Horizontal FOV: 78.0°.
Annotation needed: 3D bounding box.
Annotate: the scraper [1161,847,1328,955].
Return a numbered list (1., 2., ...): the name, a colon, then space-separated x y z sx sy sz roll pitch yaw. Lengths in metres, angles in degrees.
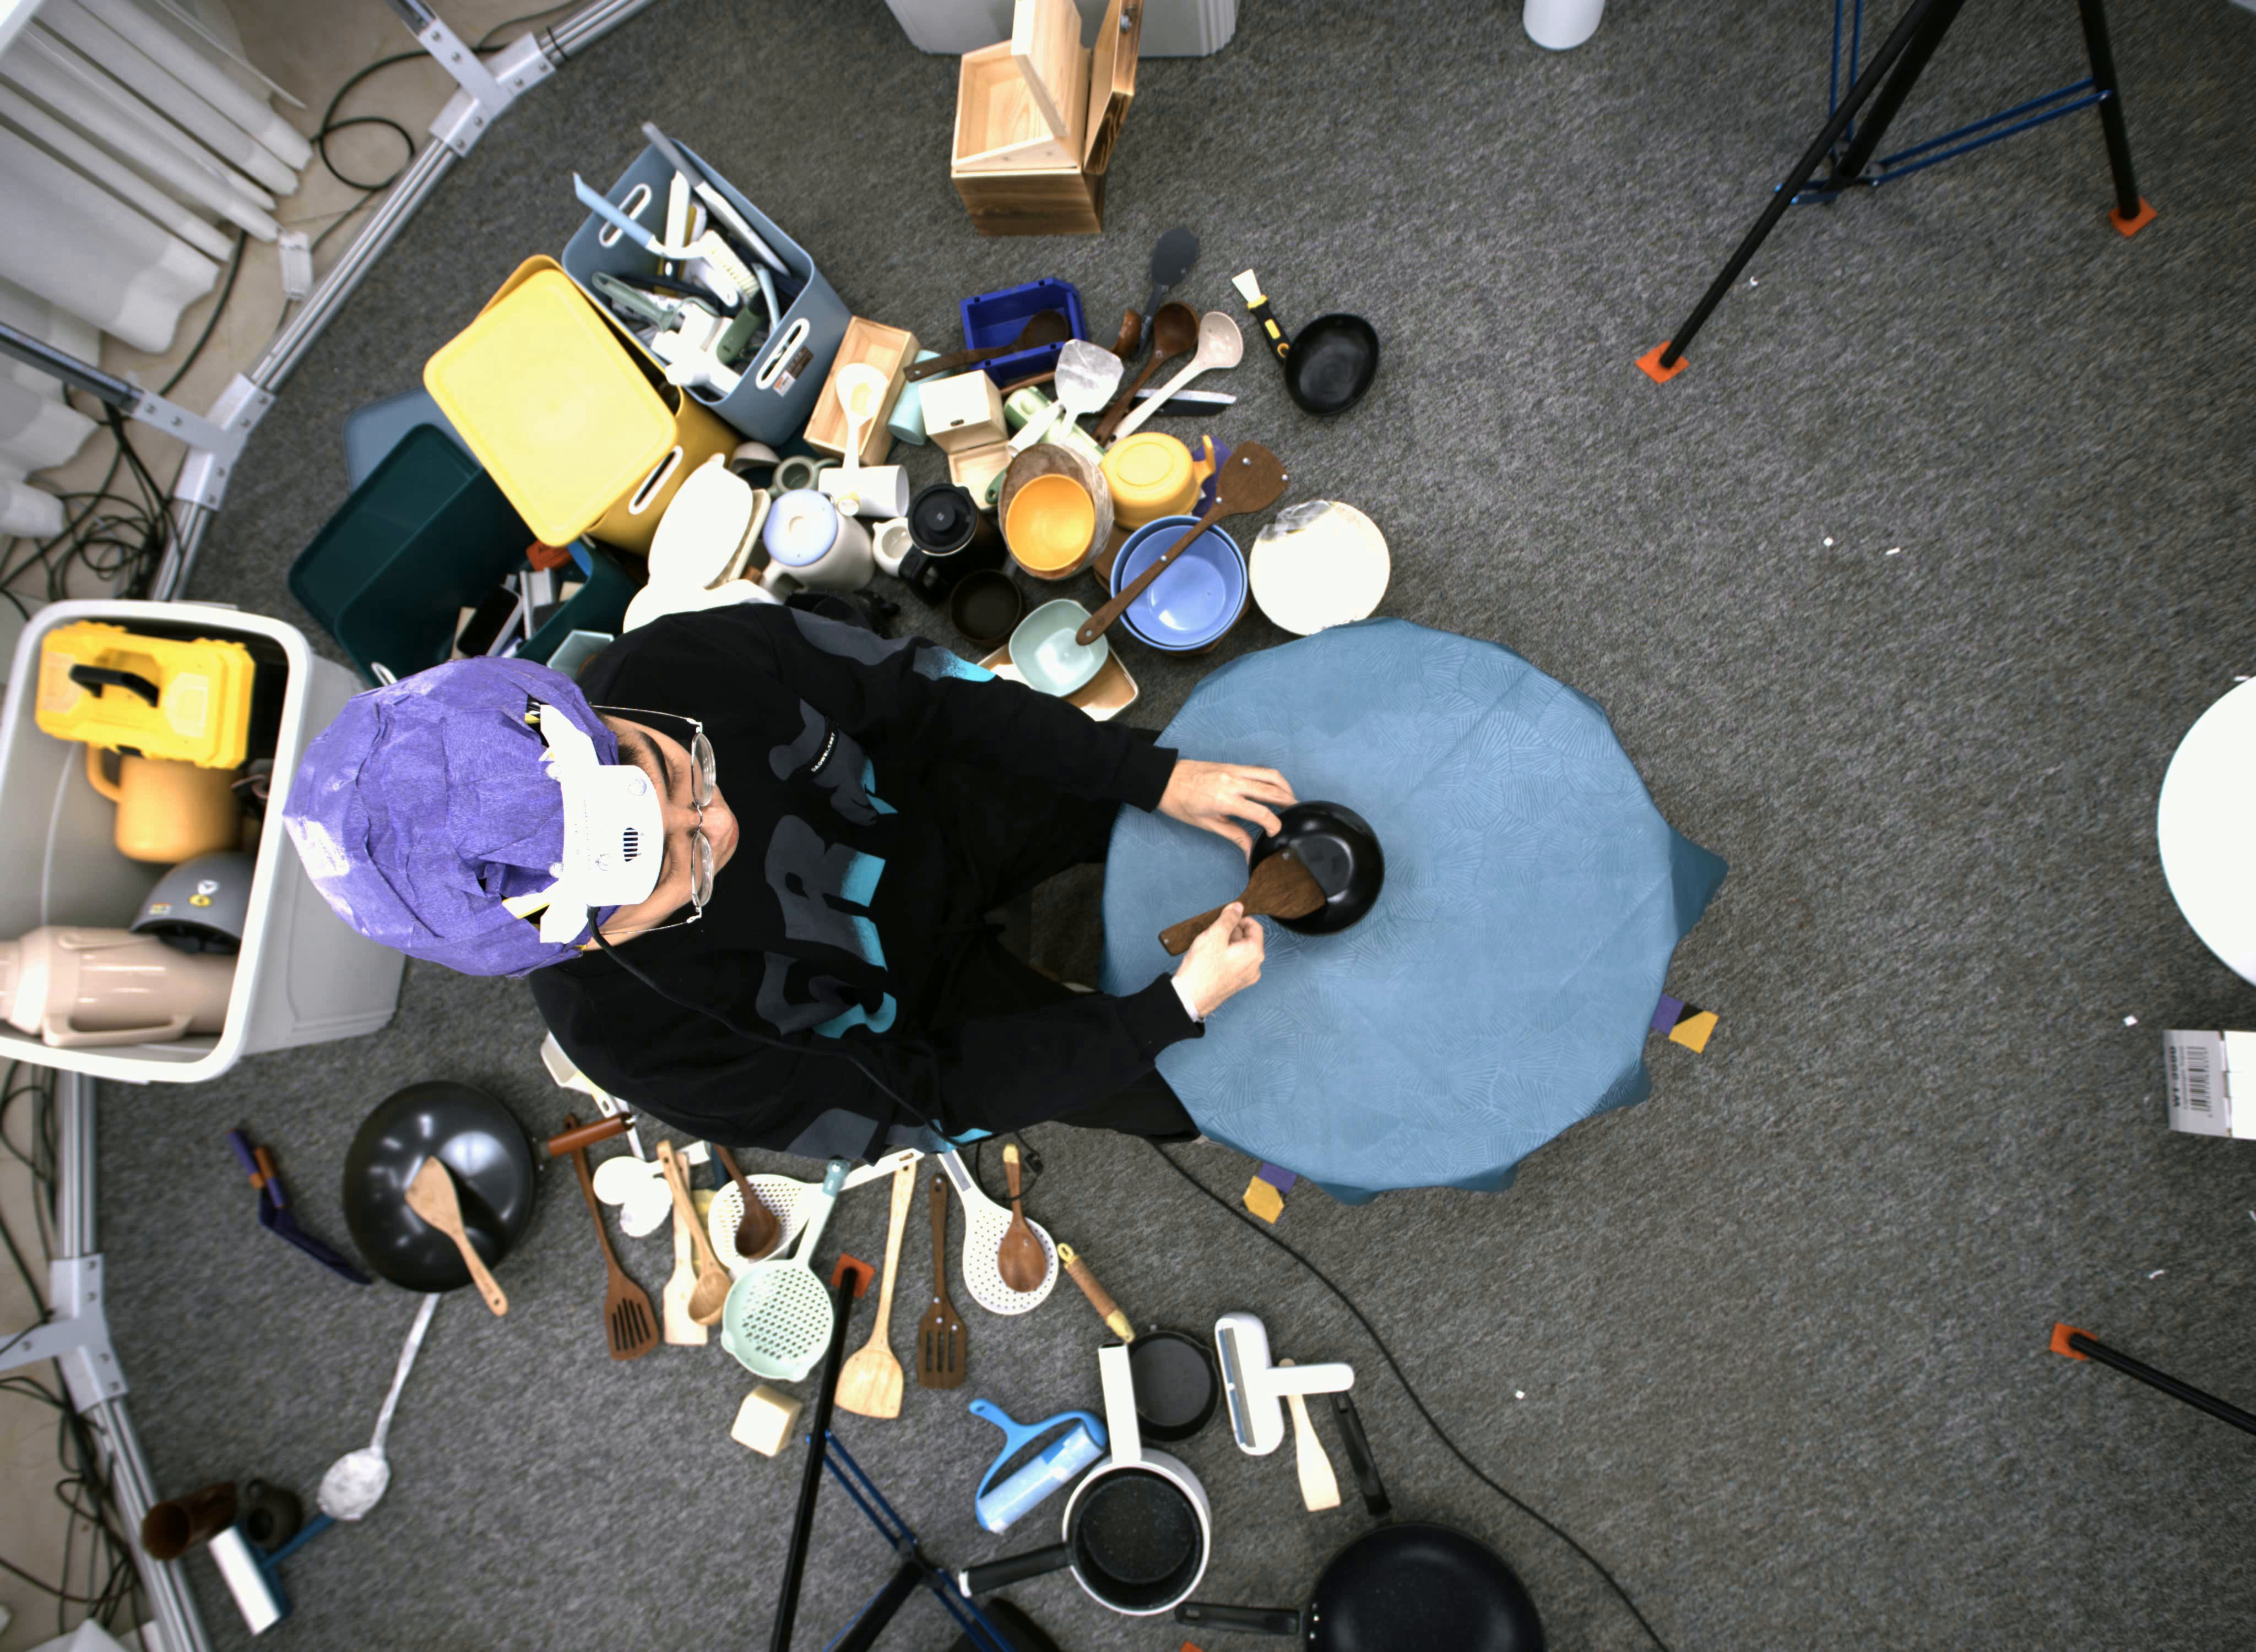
1. scraper: 0.114 0.082 1.383 0.208 0.011 0.075 -22 75 -36

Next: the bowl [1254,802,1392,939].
1. bowl: 0.198 0.045 1.419 0.140 0.049 0.140 0 90 6
